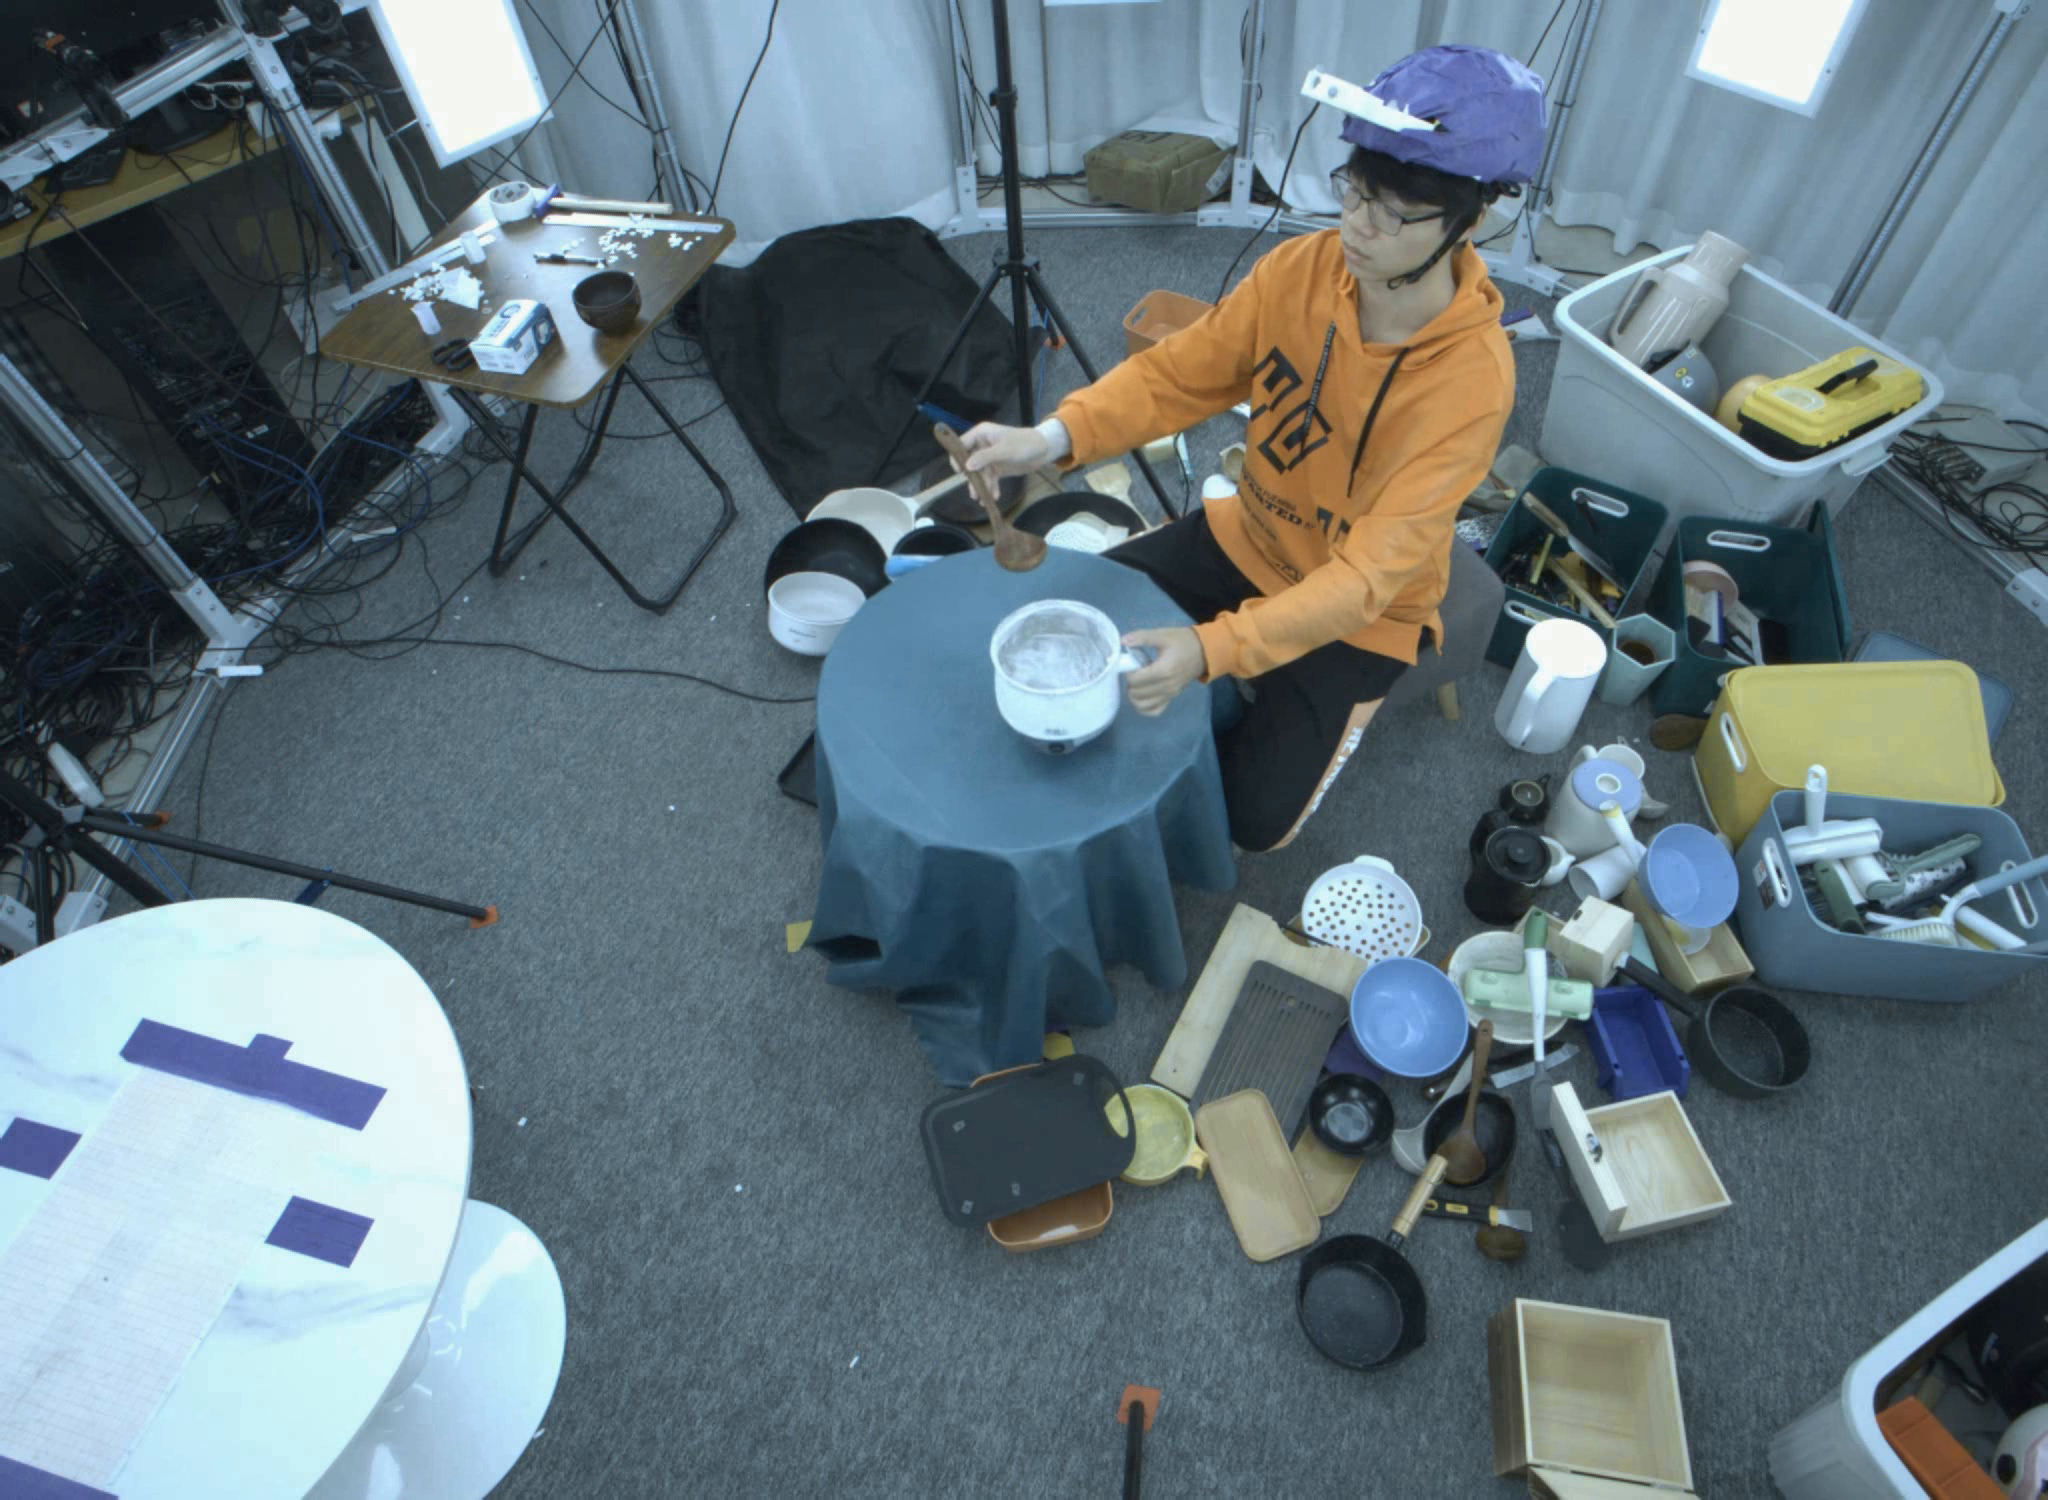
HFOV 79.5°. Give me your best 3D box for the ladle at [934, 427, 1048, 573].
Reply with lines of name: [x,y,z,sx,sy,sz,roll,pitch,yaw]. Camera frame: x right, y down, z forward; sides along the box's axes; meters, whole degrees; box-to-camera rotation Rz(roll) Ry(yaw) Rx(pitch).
ladle: [-0.054,-0.353,1.674,0.077,0.064,0.259,-27,85,-25]

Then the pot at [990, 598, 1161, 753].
pot: [0.074,-0.104,1.712,0.233,0.138,0.177,-1,53,3]
